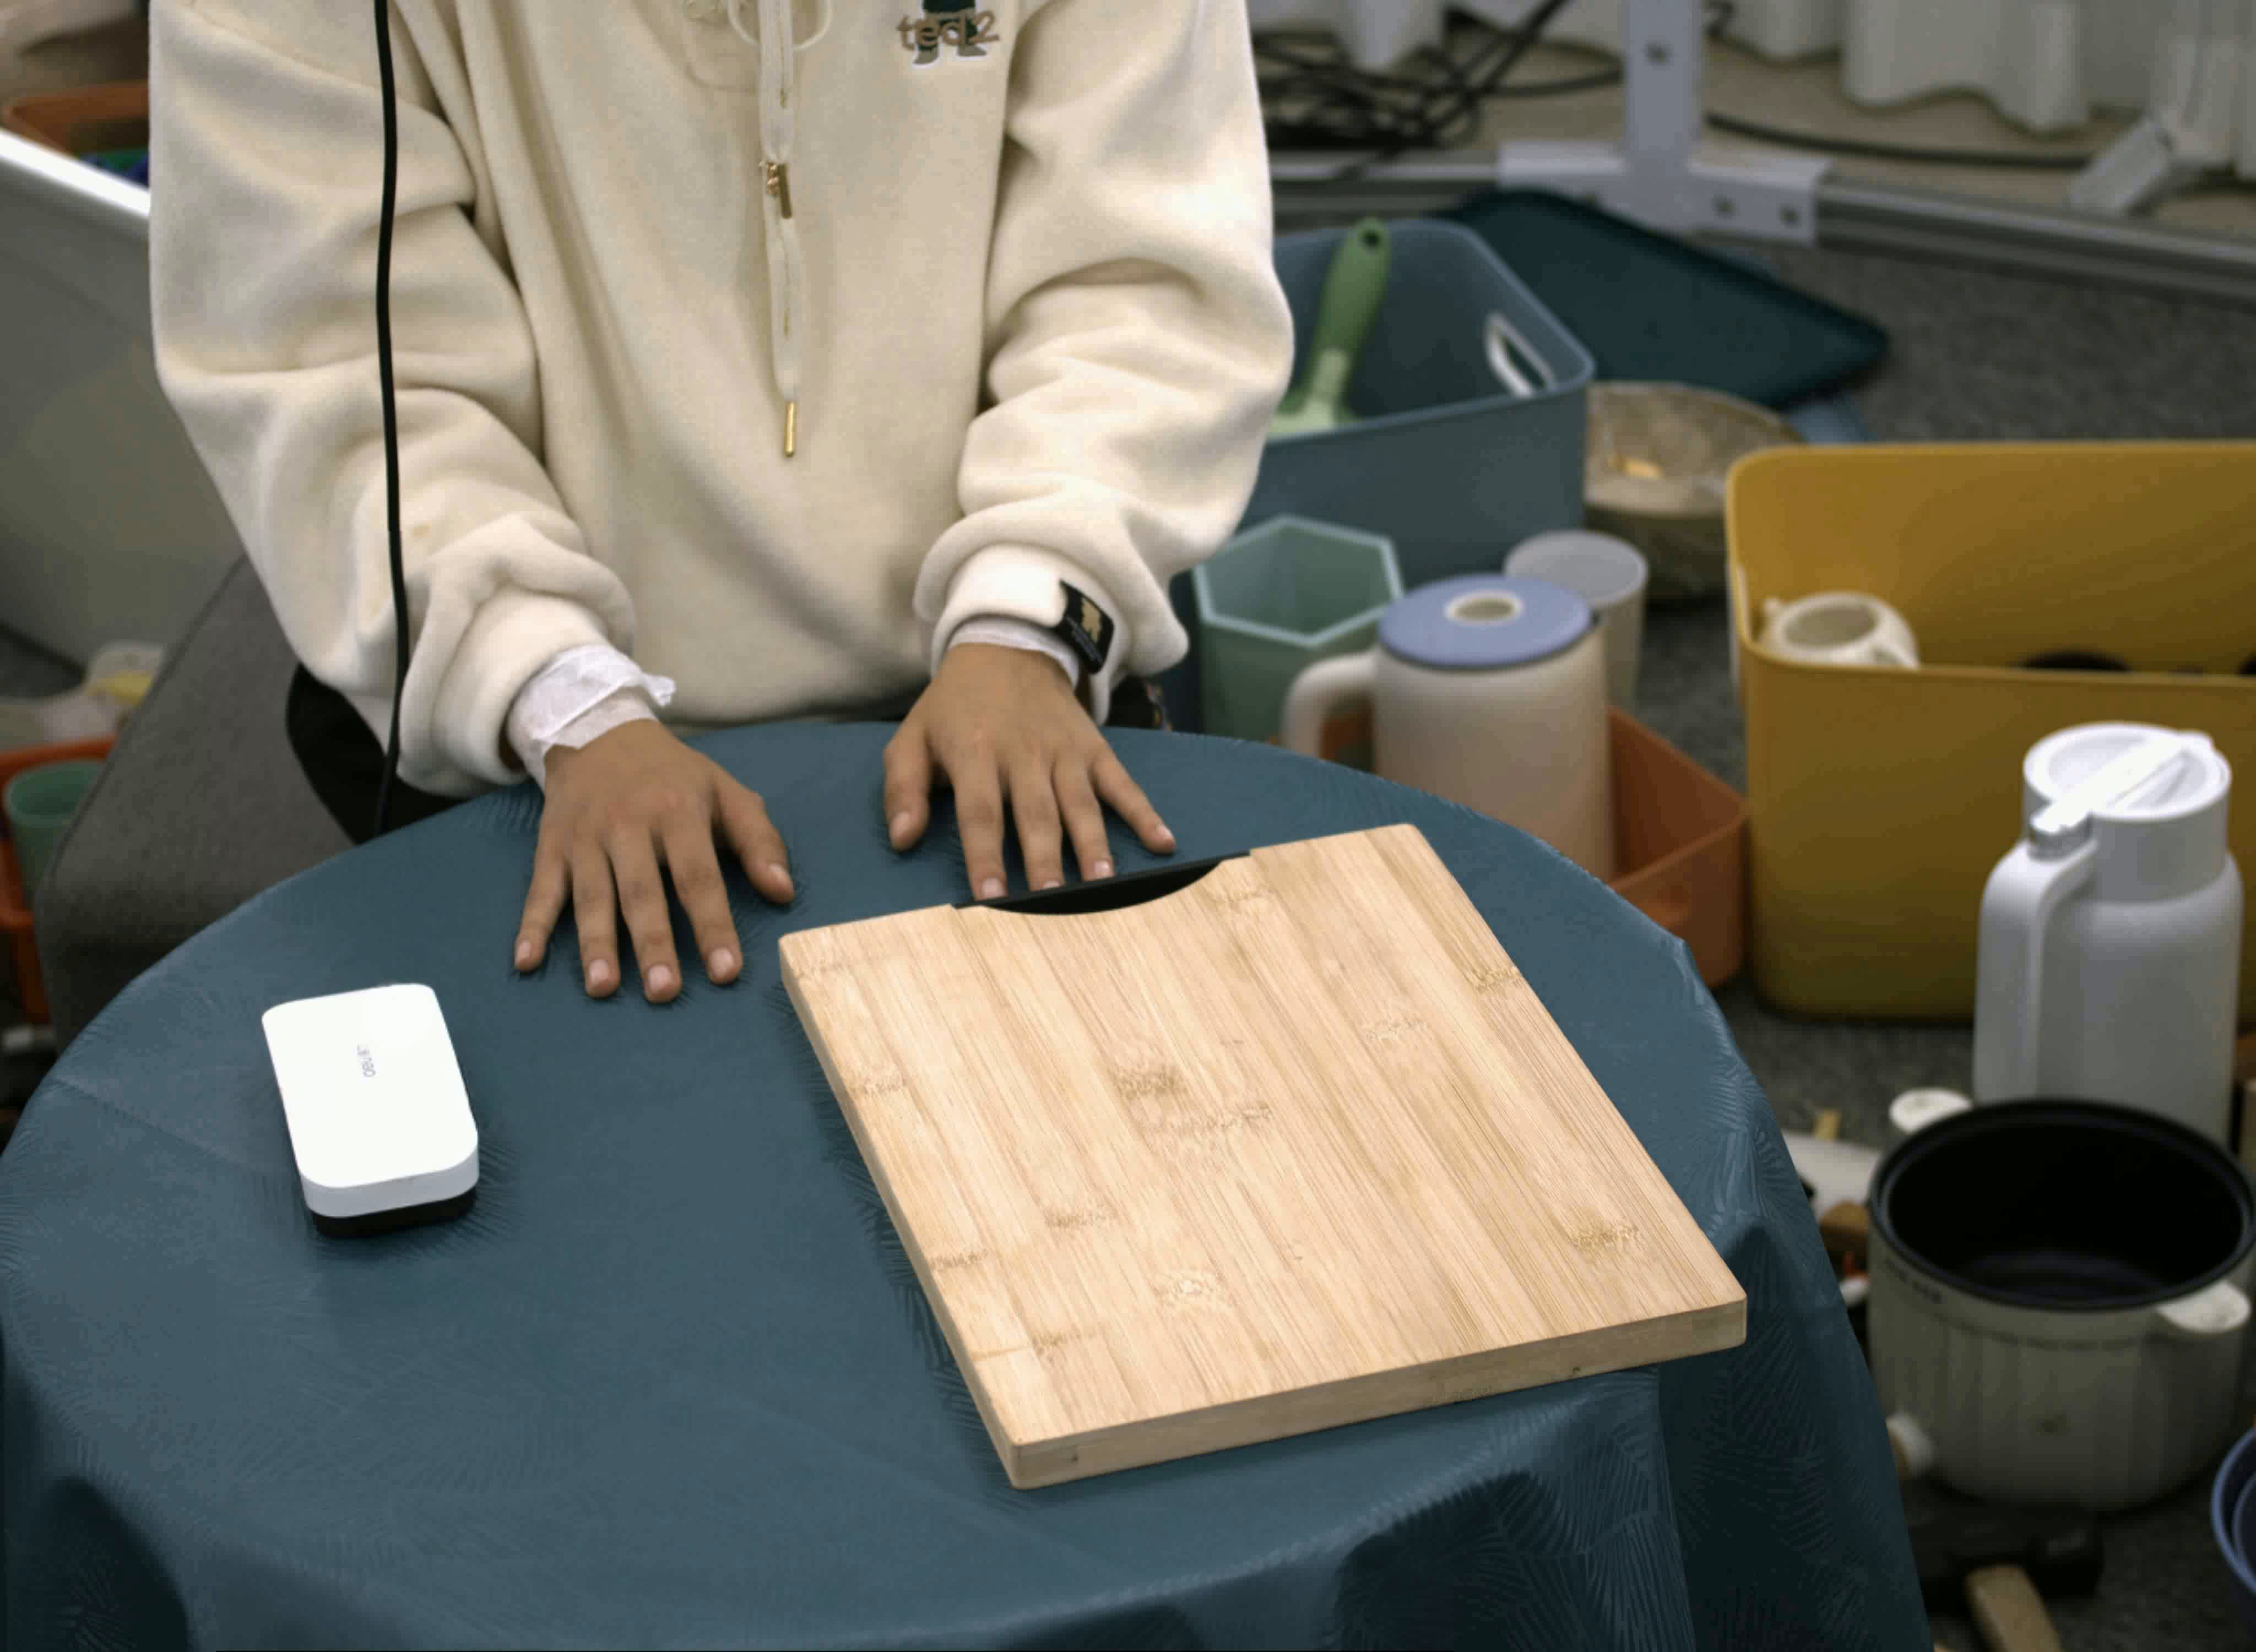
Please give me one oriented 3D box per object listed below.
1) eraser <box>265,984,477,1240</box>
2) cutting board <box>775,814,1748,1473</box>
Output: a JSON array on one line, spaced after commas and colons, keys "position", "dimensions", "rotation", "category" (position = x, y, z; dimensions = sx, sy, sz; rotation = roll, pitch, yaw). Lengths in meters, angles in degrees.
[{"position": [-0.256, 0.094, 1.908], "dimensions": [0.063, 0.034, 0.133], "rotation": [-9, 28, -10], "category": "eraser"}, {"position": [0.034, 0.099, 1.884], "dimensions": [0.251, 0.023, 0.352], "rotation": [-10, 28, -13], "category": "cutting board"}]
